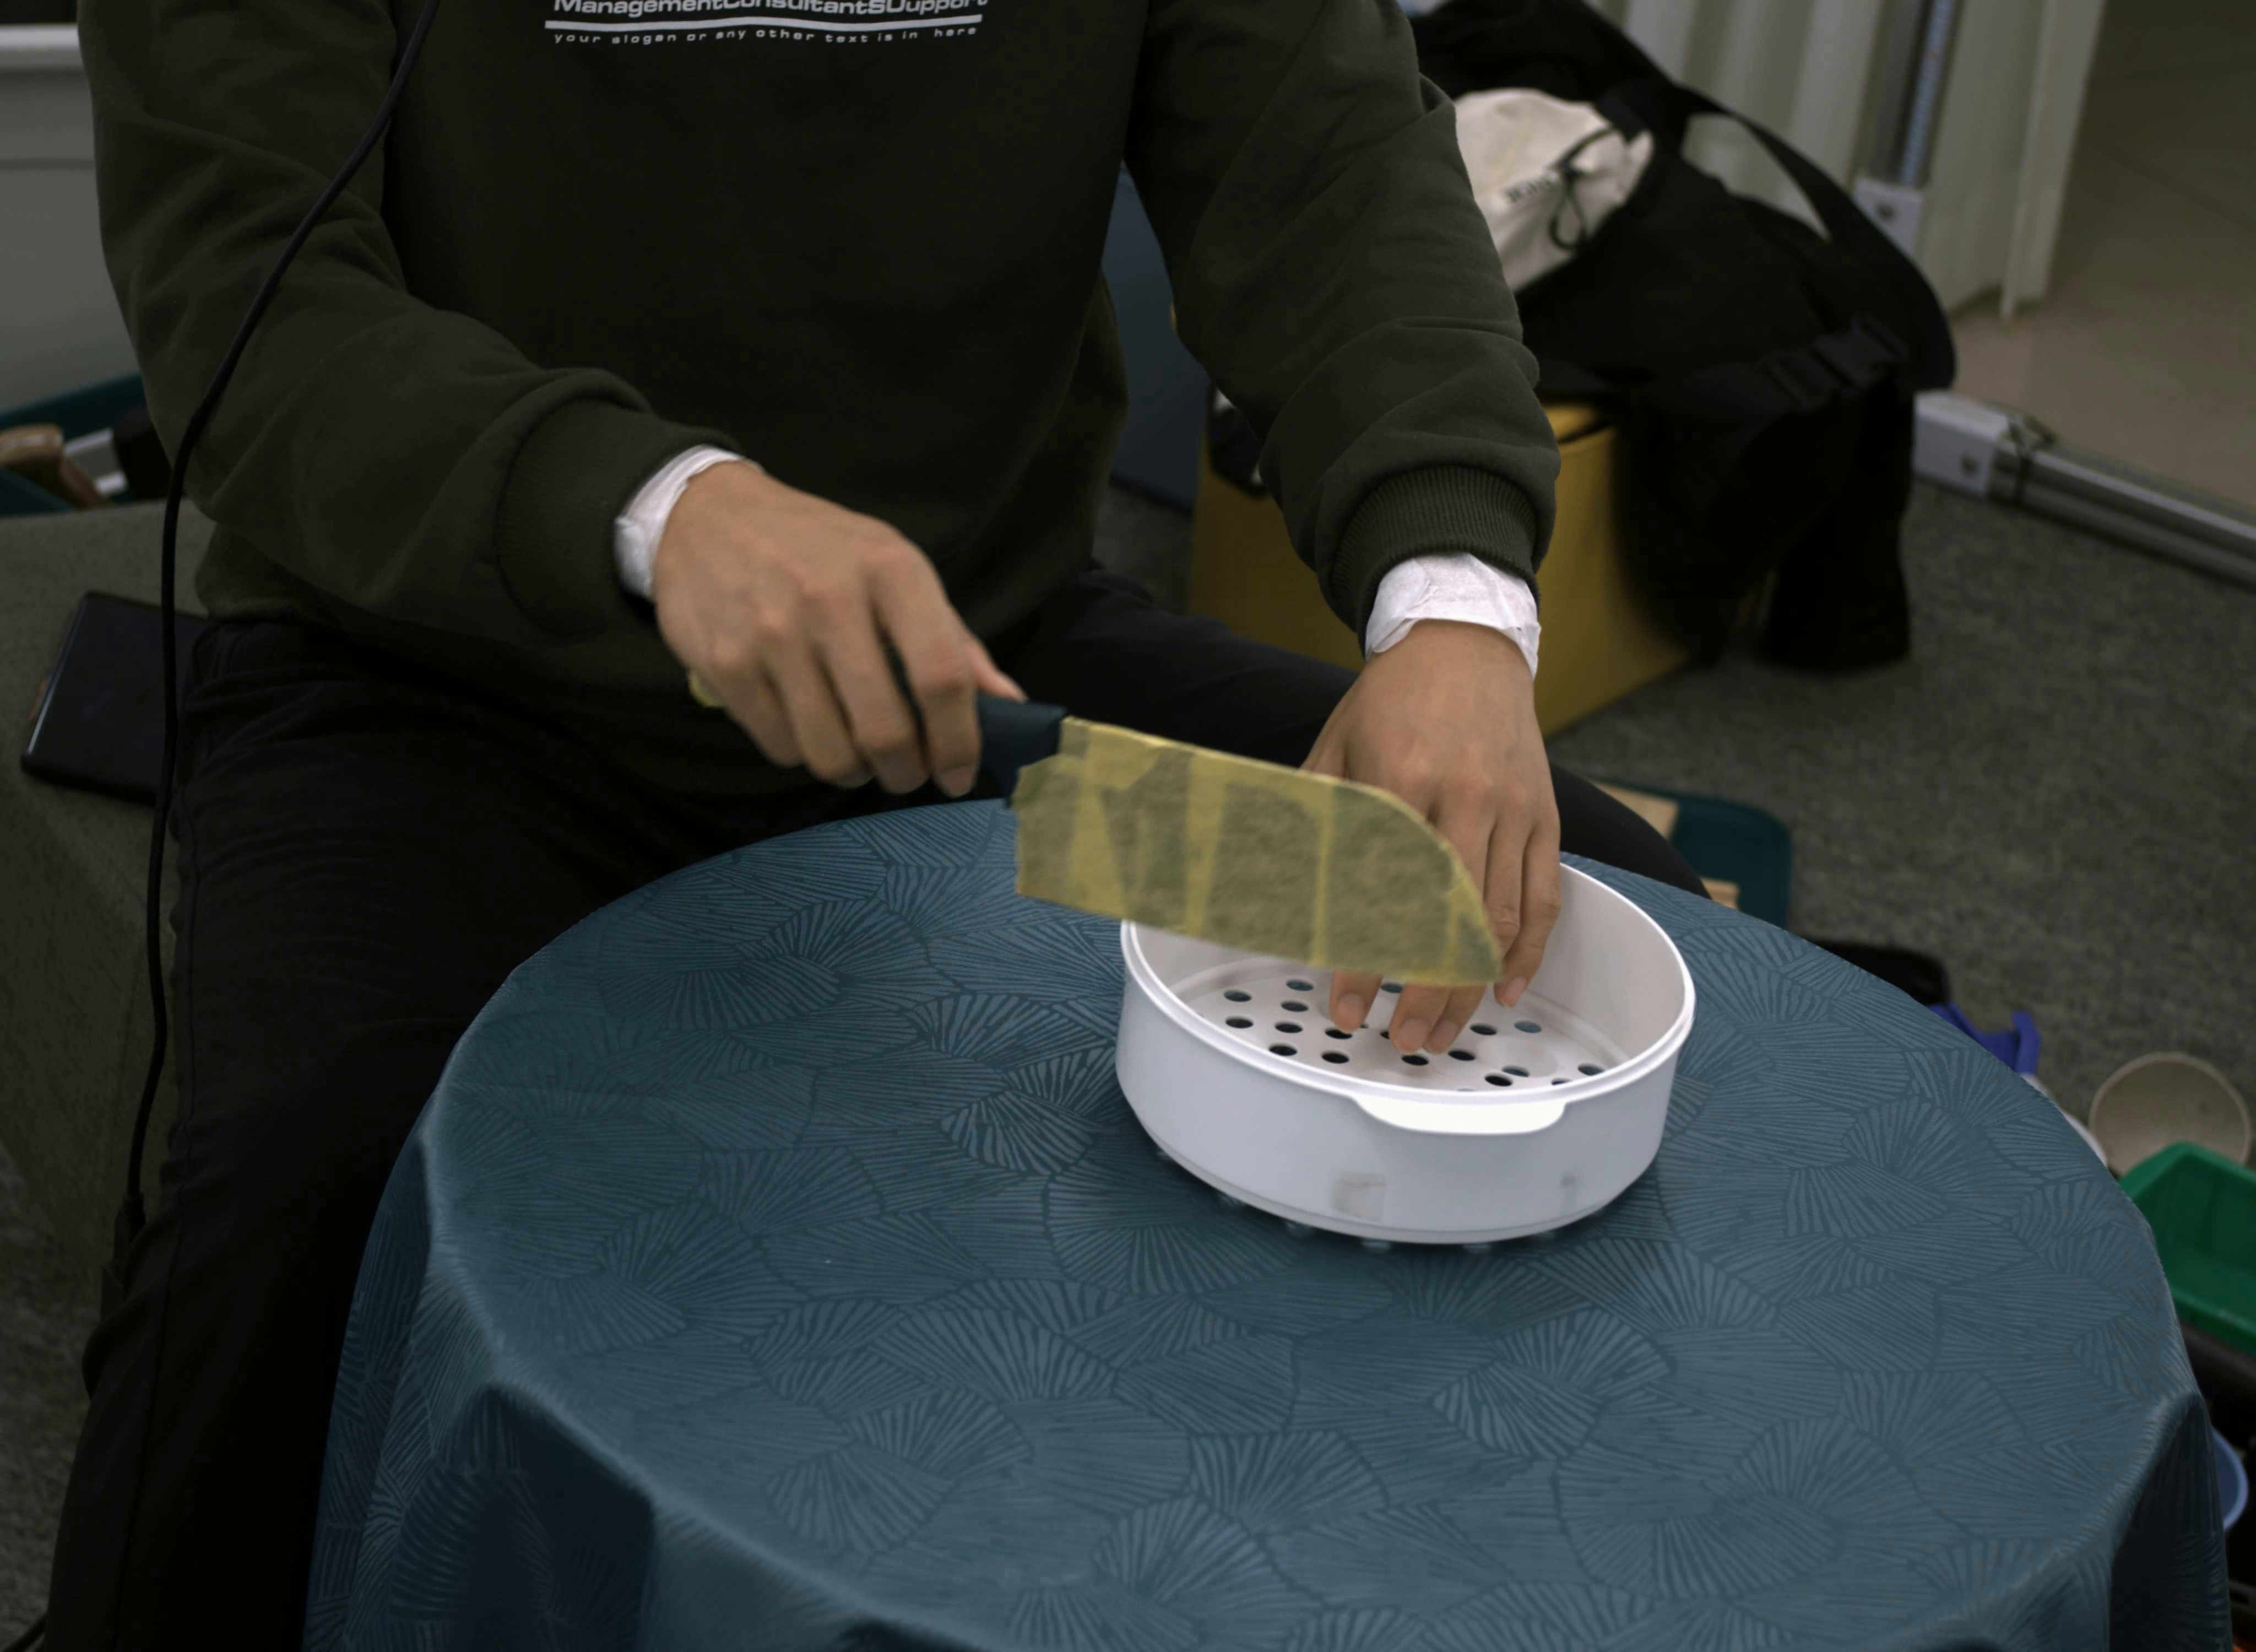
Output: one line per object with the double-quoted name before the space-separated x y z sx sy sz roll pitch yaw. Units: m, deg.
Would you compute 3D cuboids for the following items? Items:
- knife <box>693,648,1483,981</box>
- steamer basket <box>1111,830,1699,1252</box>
"knife" -0.015 -0.005 1.772 0.290 0.081 0.027 17 29 19
"steamer basket" 0.094 0.075 1.849 0.201 0.069 0.232 3 26 -9
